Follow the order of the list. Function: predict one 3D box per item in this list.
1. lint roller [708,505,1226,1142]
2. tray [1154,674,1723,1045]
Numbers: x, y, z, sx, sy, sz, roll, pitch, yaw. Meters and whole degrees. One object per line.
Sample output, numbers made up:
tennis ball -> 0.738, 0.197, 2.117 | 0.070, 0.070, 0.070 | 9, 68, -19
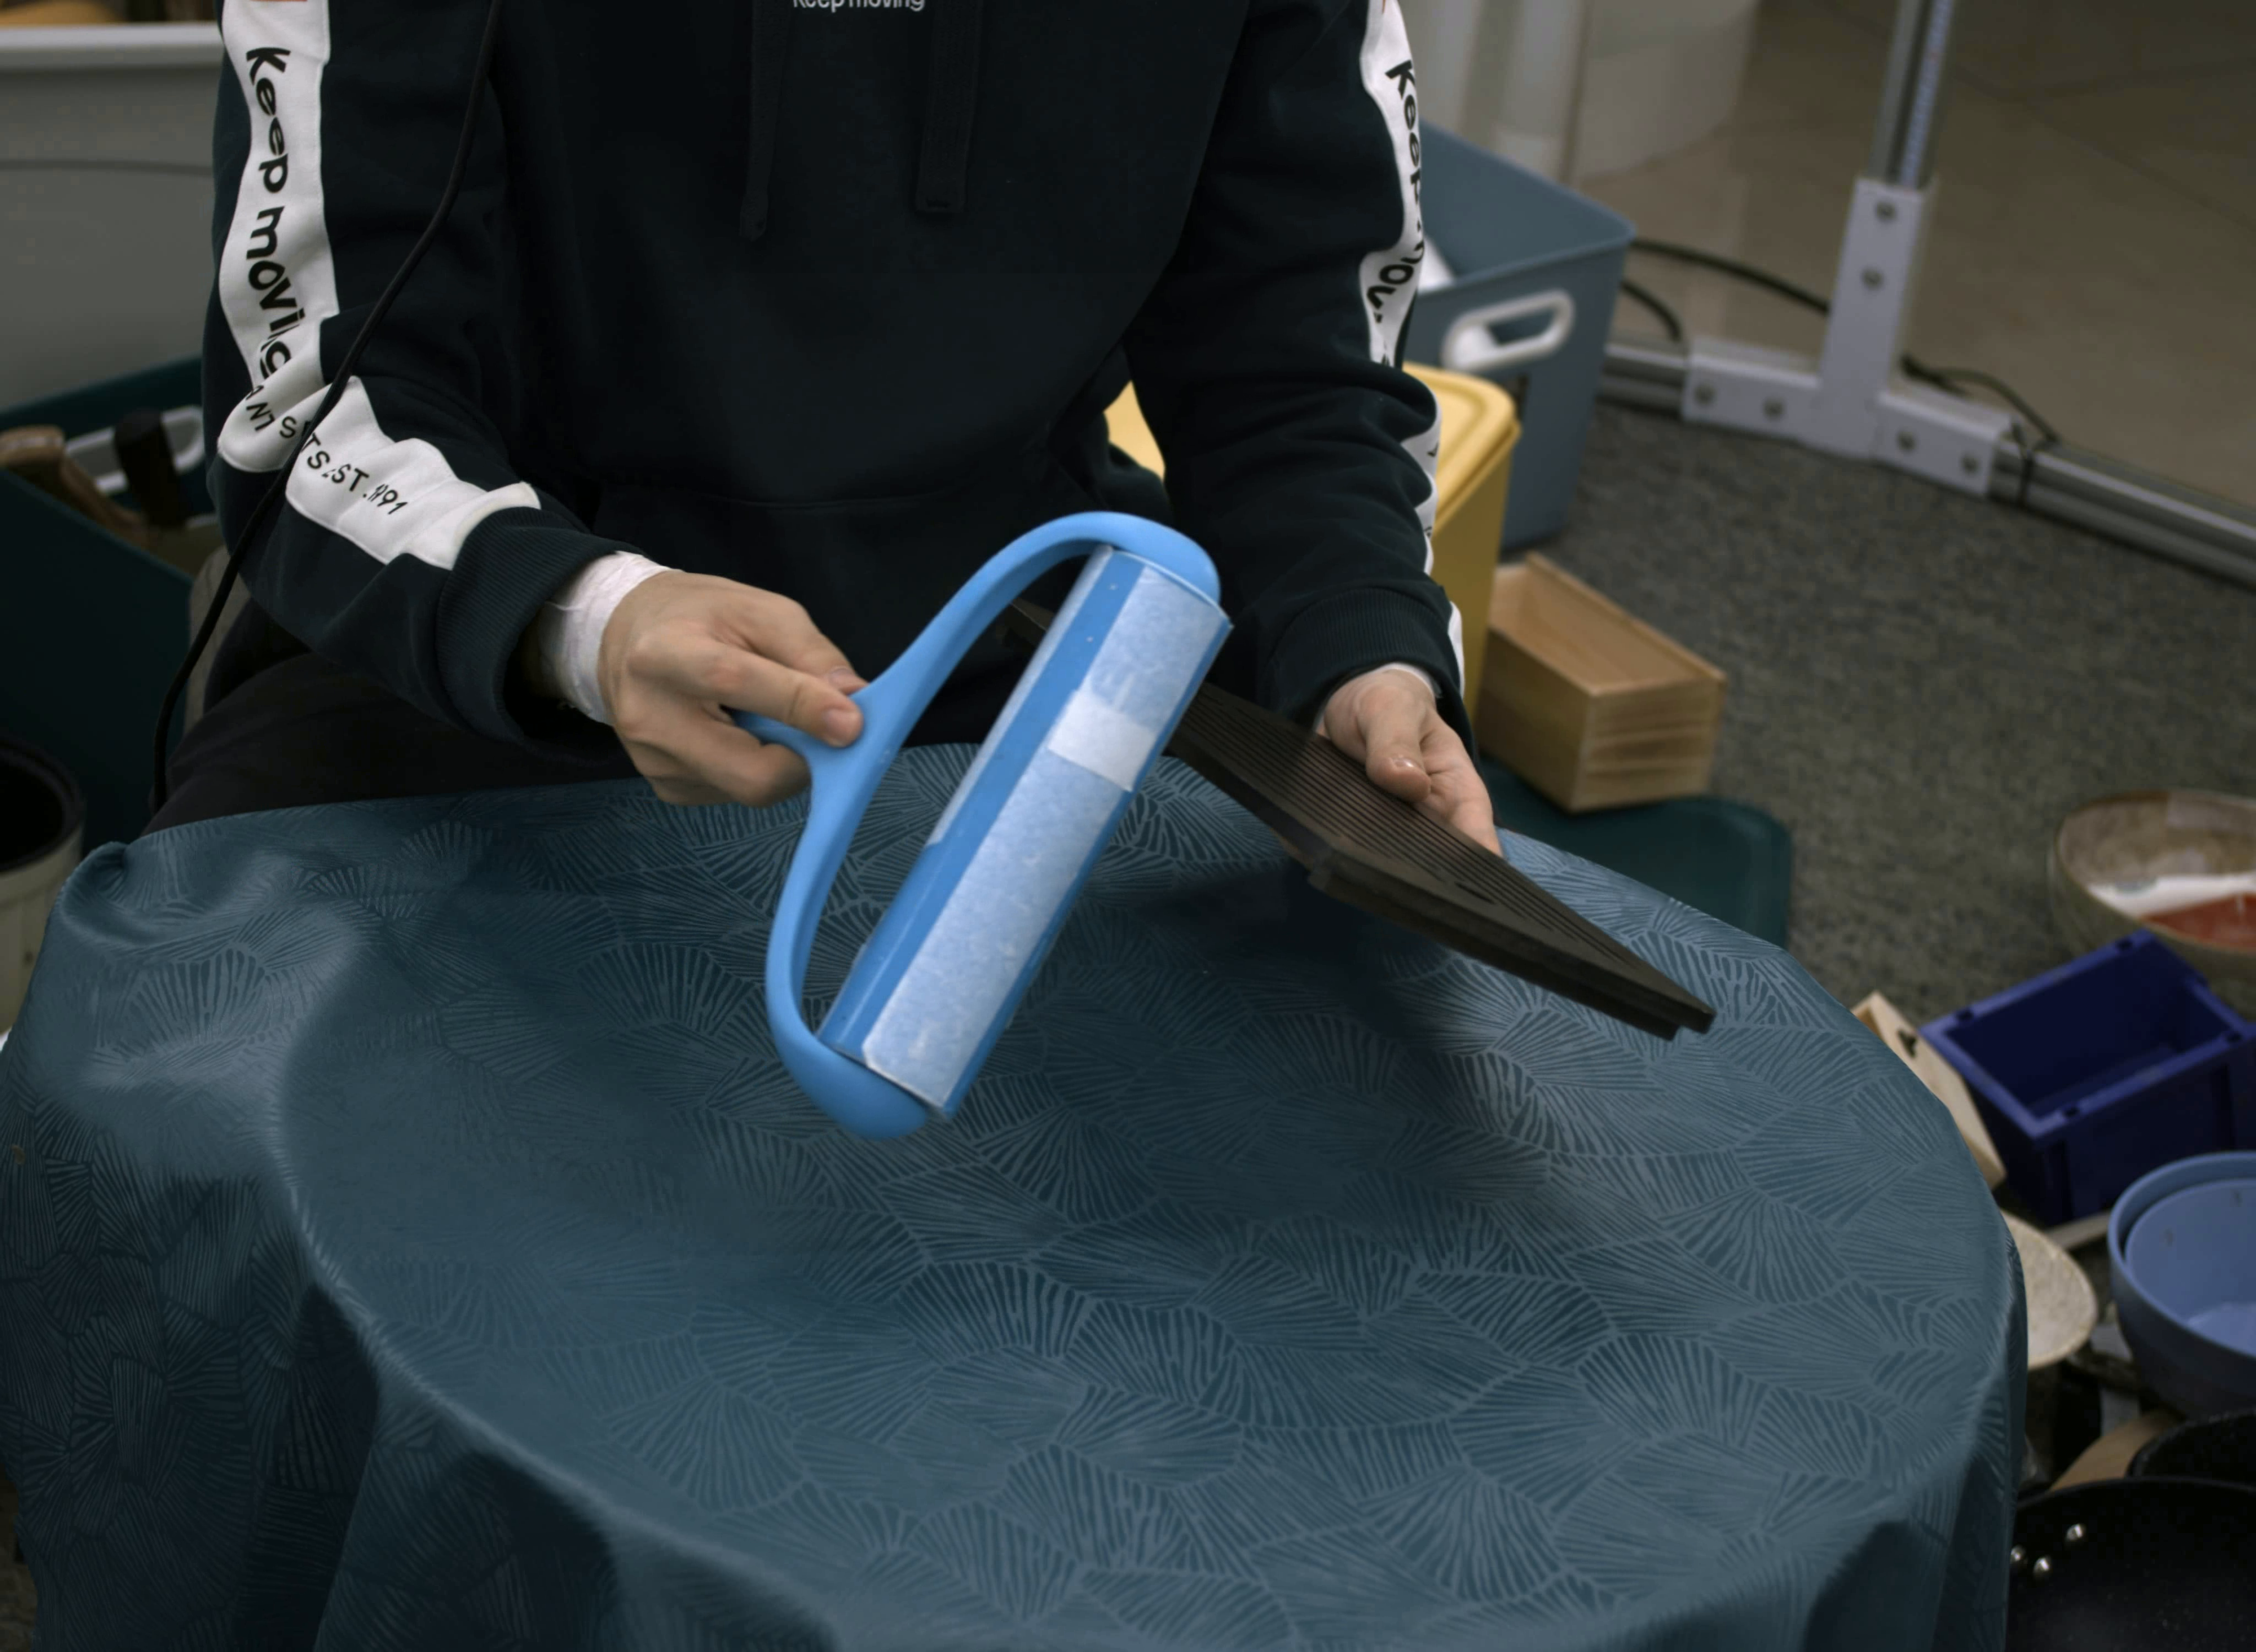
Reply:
lint roller -> -0.083, -0.016, 1.782 | 0.181, 0.229, 0.067 | 18, -14, 33
tray -> 0.072, -0.004, 1.864 | 0.168, 0.018, 0.308 | 24, 8, -30
